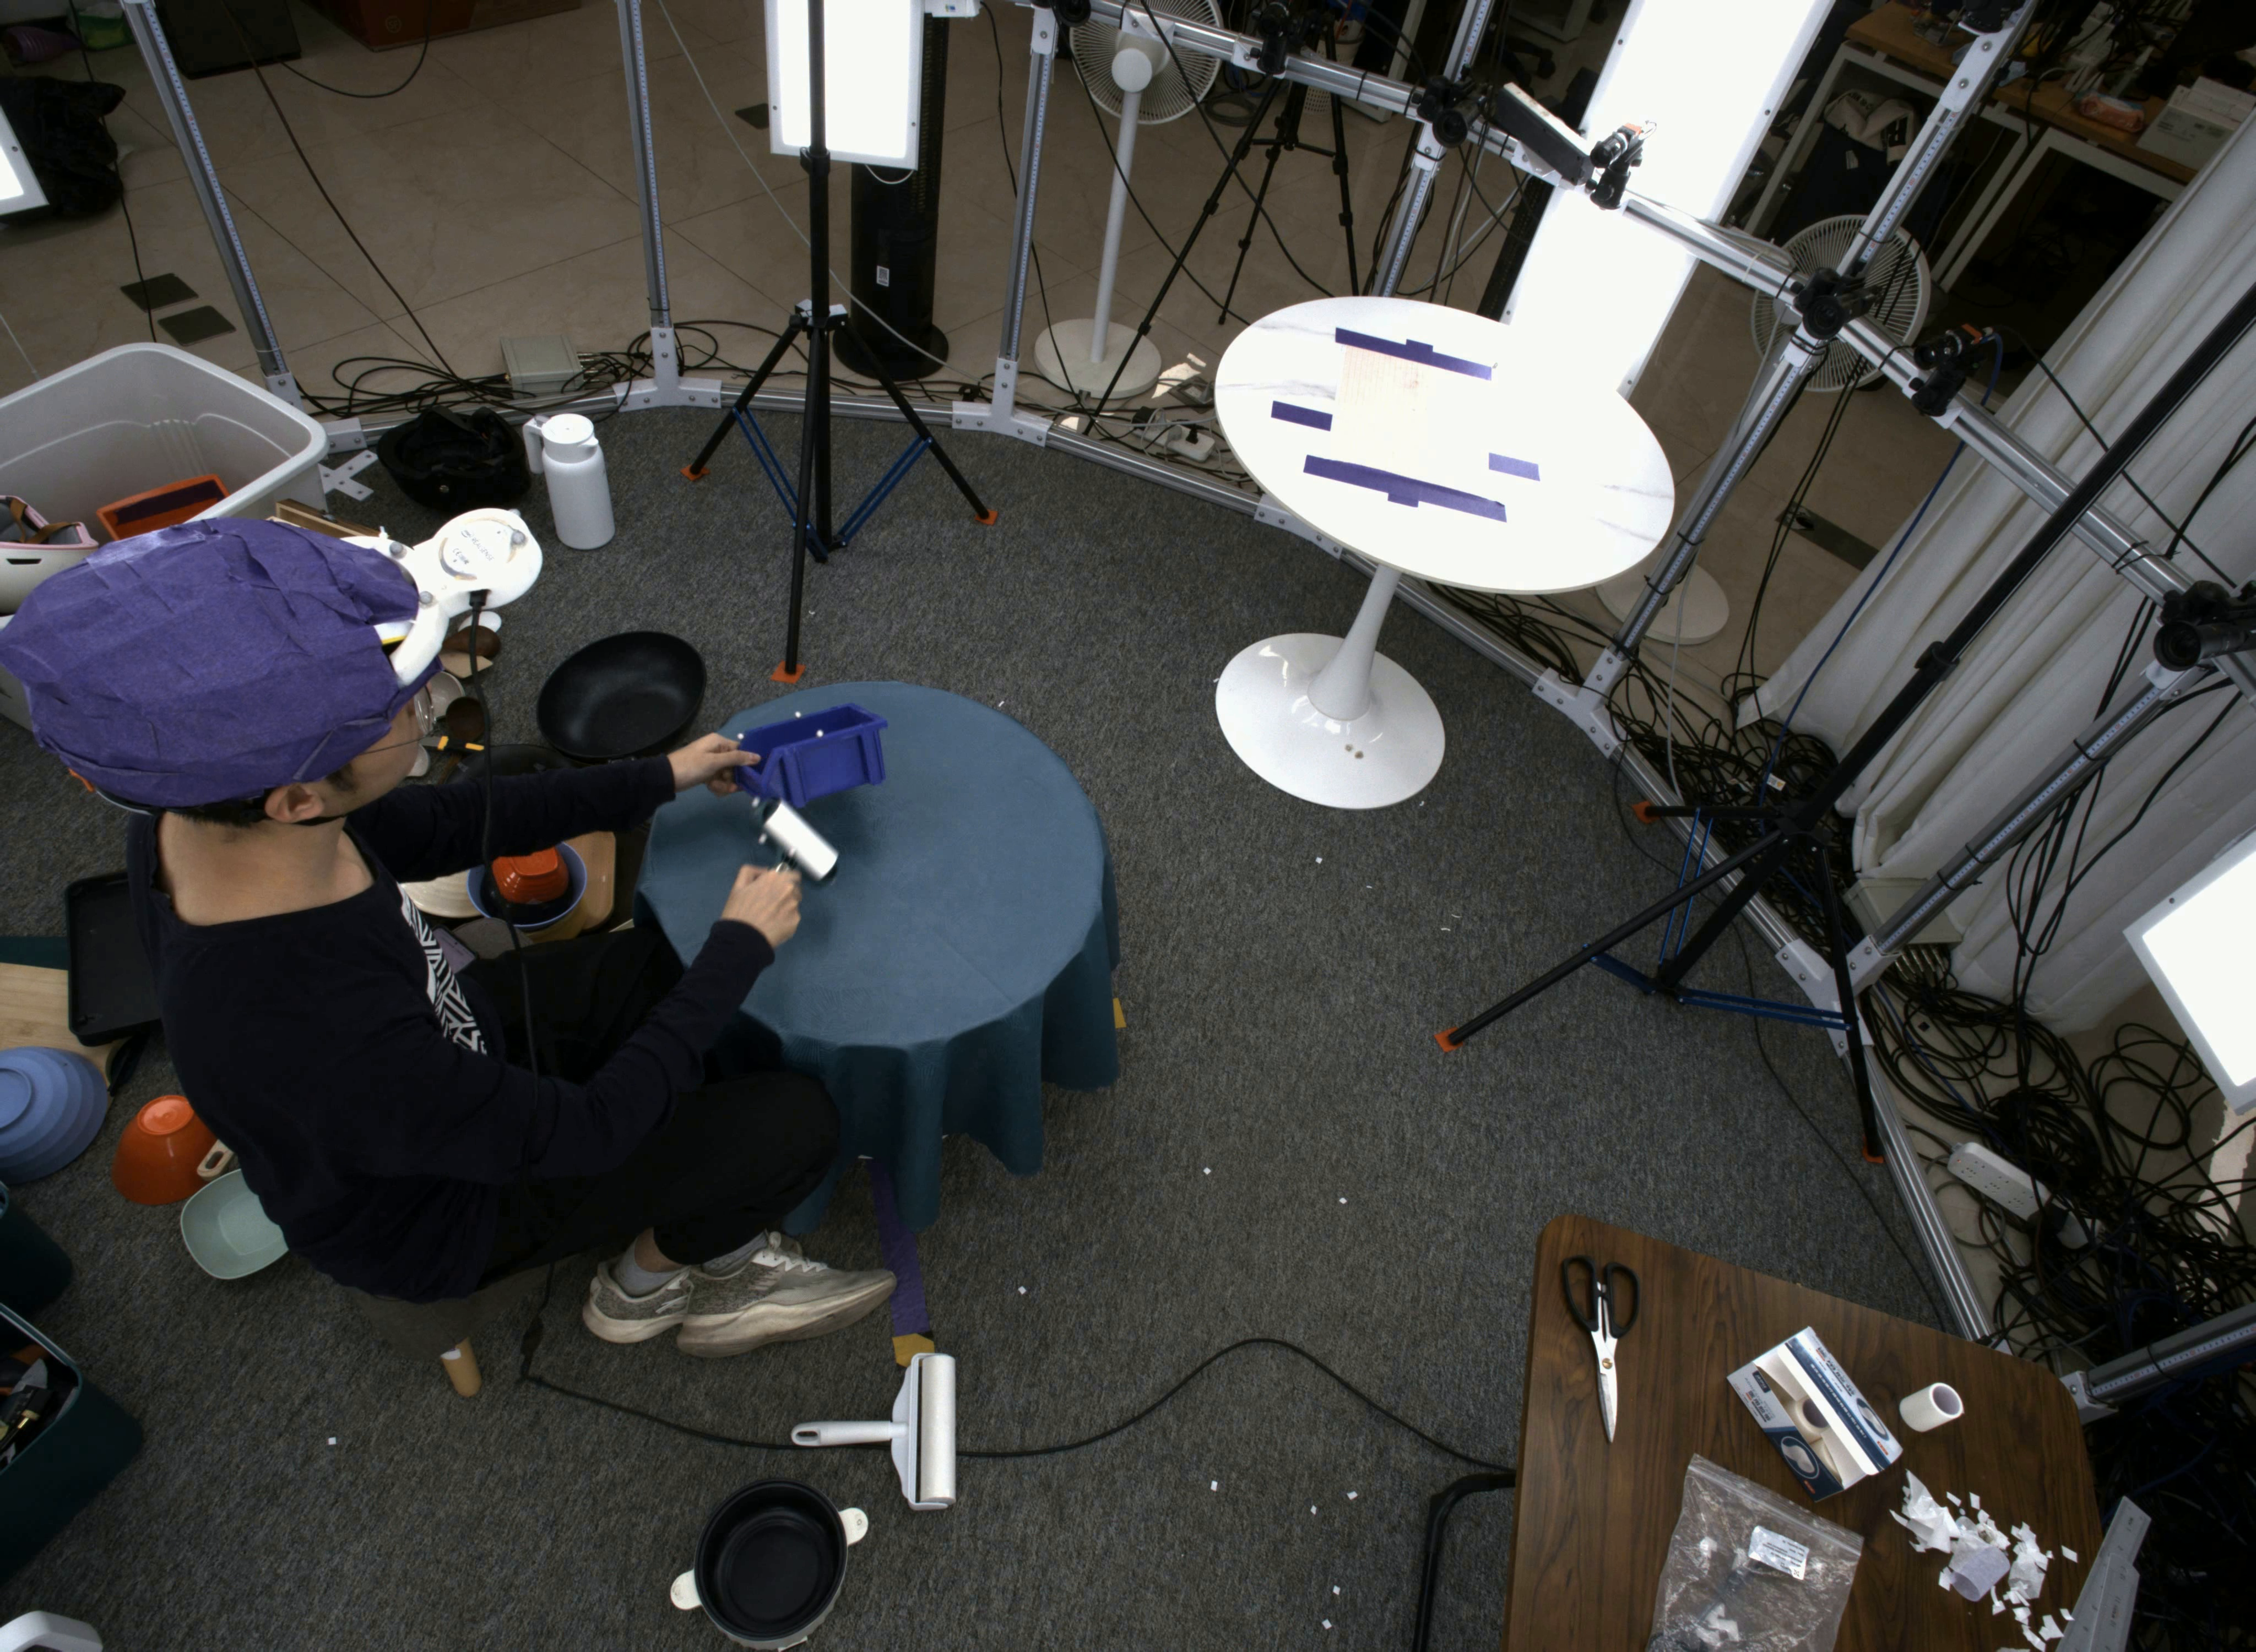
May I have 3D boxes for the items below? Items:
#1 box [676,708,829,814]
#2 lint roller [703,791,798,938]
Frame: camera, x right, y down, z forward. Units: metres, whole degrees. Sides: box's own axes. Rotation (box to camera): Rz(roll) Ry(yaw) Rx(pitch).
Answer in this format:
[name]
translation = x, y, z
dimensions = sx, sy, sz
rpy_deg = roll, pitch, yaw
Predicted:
[box]
translation = -0.475, -0.077, 1.634
dimensions = 0.180, 0.084, 0.120
rpy_deg = -18, 27, -28
[lint roller]
translation = -0.458, 0.056, 1.519
dimensions = 0.139, 0.048, 0.176
rpy_deg = 47, 24, -30
